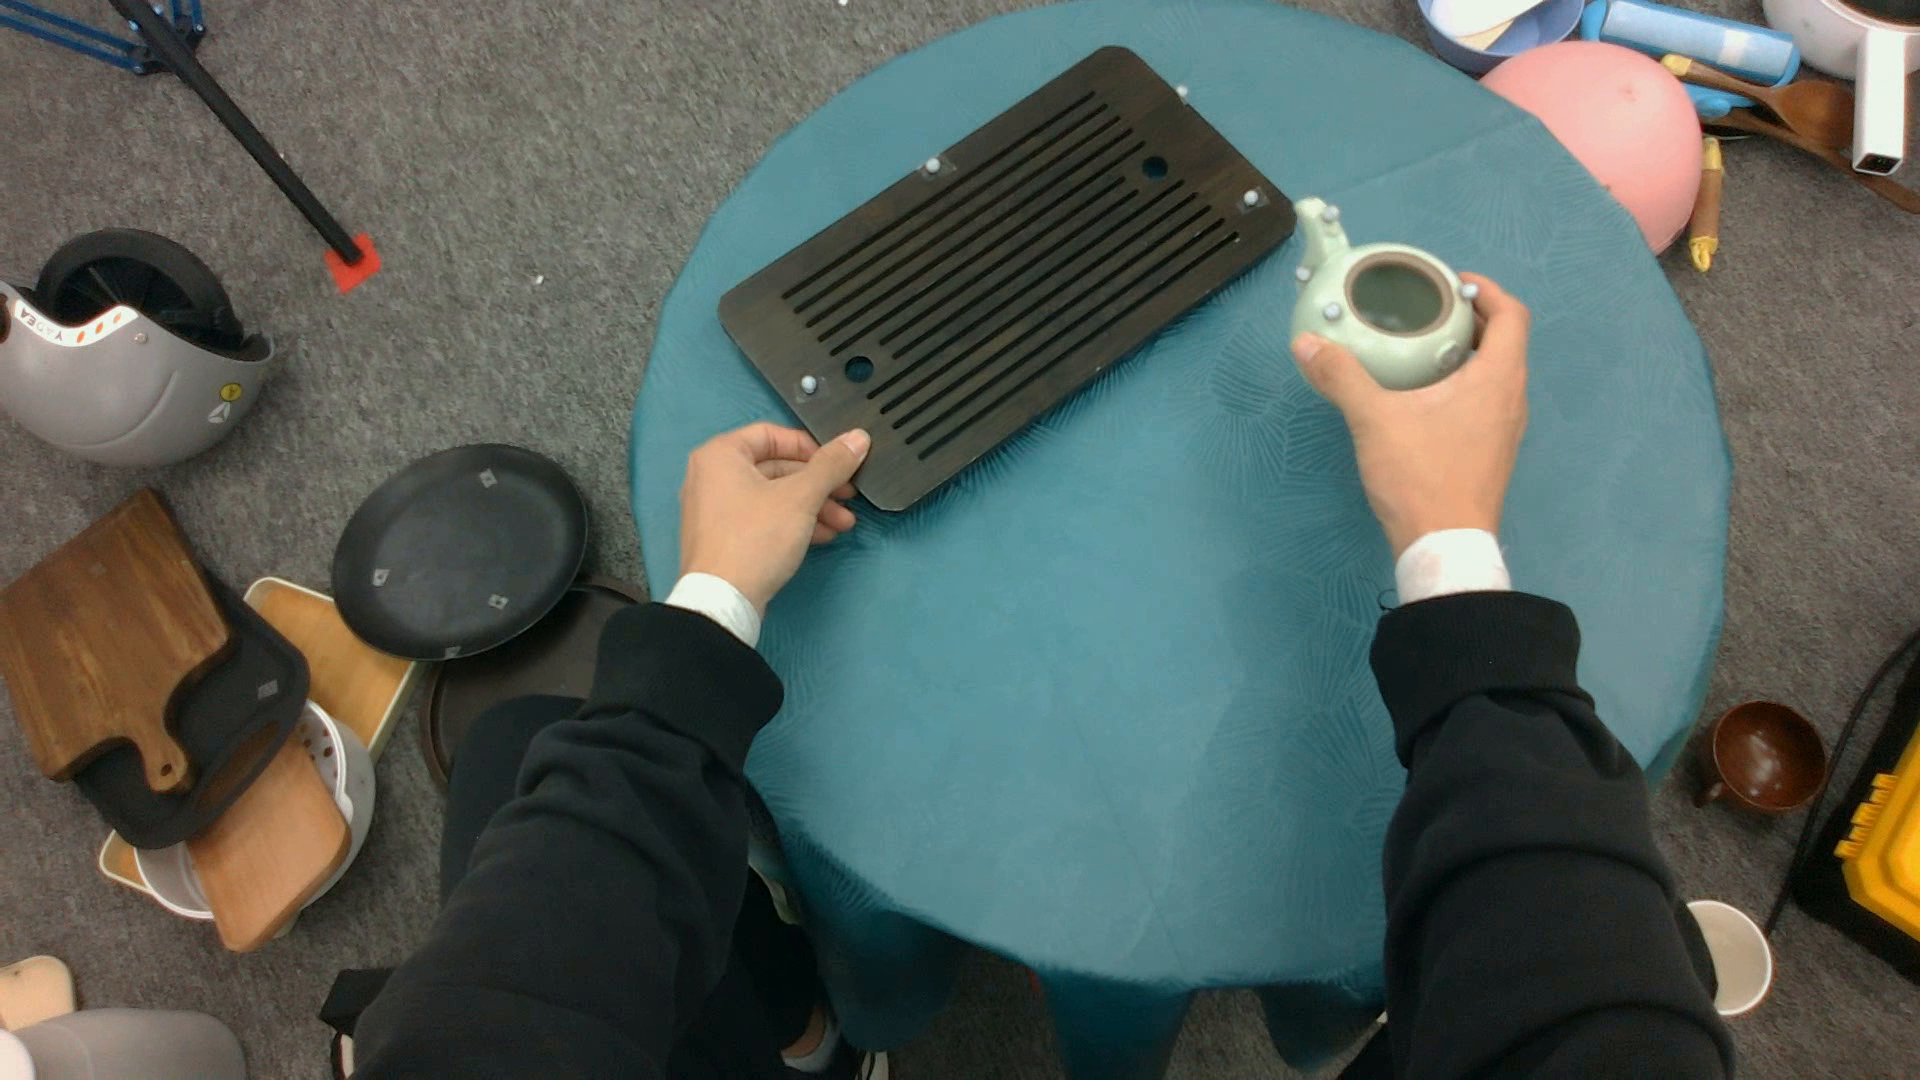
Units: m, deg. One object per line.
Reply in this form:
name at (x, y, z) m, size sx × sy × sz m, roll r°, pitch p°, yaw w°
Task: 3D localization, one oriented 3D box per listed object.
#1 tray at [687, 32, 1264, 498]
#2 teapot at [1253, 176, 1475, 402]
tray at (0.012, -0.165, 0.788) m, size 0.306 × 0.018 × 0.170 m, roll -37°, pitch 72°, yaw -14°
teapot at (0.192, -0.116, 0.688) m, size 0.088 × 0.074 × 0.144 m, roll -32°, pitch 65°, yaw -17°
